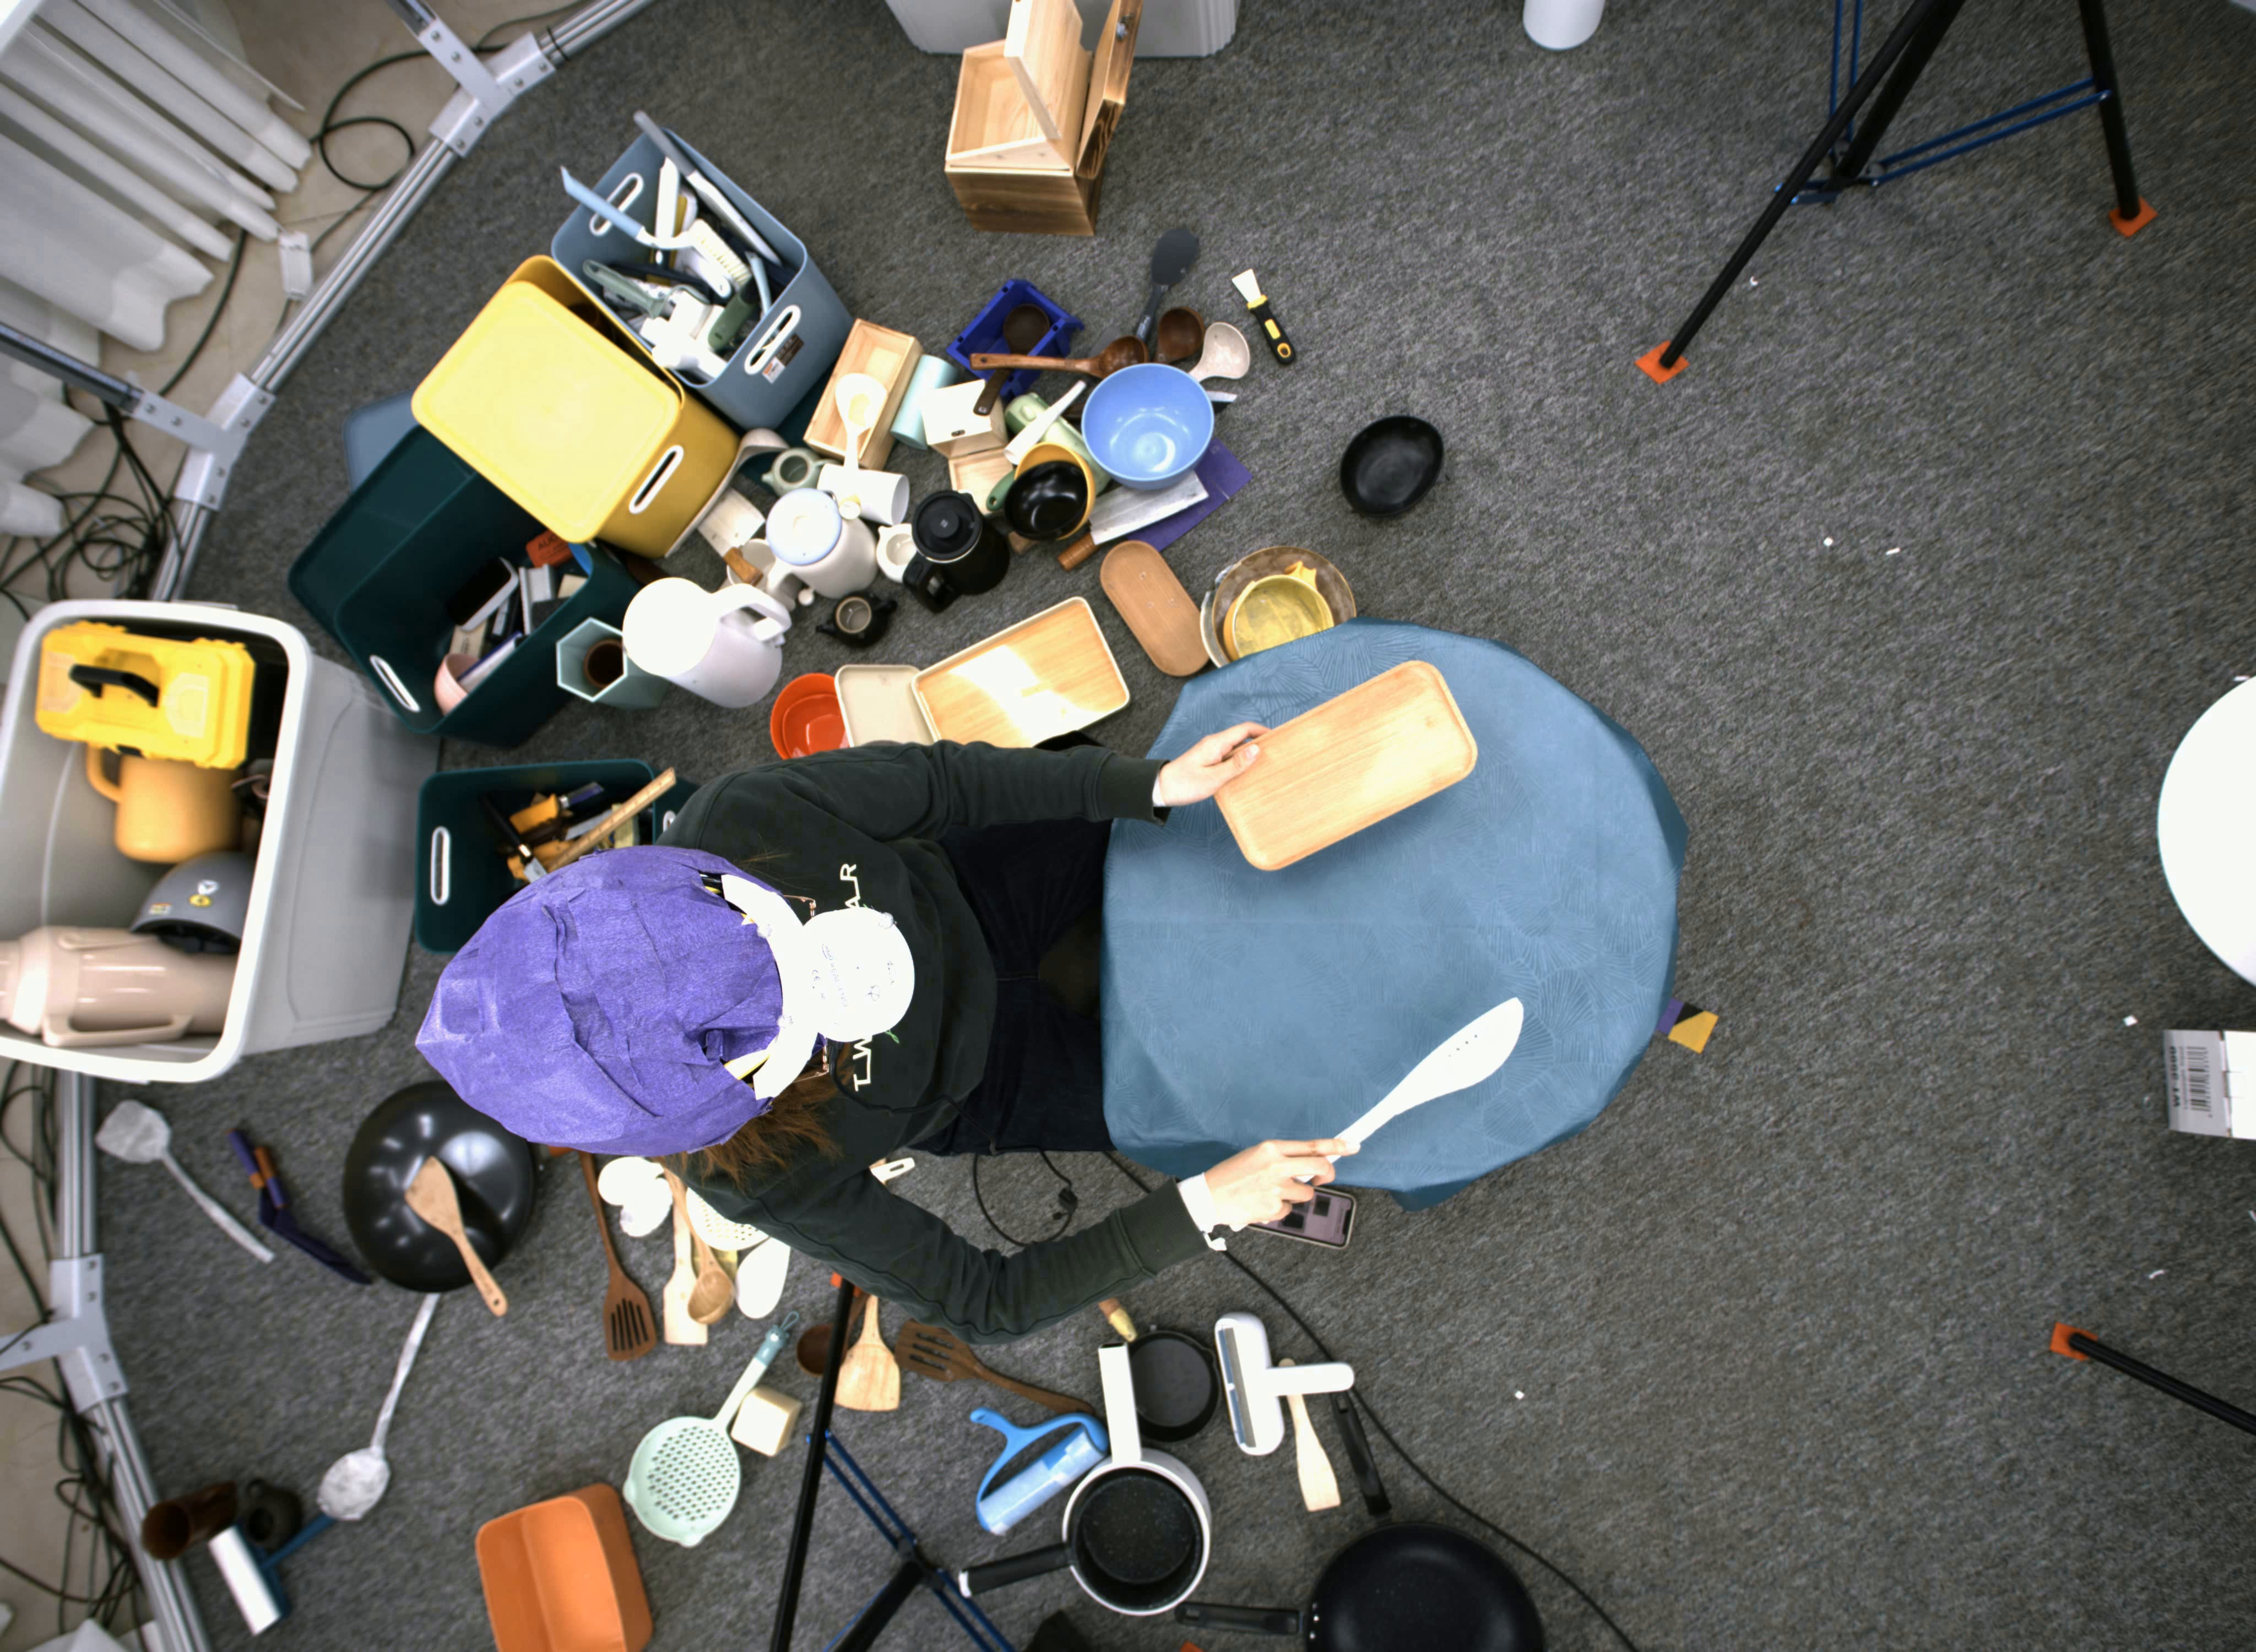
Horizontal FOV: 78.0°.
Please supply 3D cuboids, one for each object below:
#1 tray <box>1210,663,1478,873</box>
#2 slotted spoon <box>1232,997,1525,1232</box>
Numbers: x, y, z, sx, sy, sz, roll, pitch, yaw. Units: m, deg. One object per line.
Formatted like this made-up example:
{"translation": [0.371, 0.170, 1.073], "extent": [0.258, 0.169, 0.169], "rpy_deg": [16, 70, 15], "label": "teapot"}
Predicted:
{"translation": [0.211, -0.057, 1.355], "extent": [0.253, 0.022, 0.131], "rpy_deg": [-27, 93, 13], "label": "tray"}
{"translation": [0.242, 0.274, 1.318], "extent": [0.350, 0.137, 0.045], "rpy_deg": [-32, 80, -1], "label": "slotted spoon"}
